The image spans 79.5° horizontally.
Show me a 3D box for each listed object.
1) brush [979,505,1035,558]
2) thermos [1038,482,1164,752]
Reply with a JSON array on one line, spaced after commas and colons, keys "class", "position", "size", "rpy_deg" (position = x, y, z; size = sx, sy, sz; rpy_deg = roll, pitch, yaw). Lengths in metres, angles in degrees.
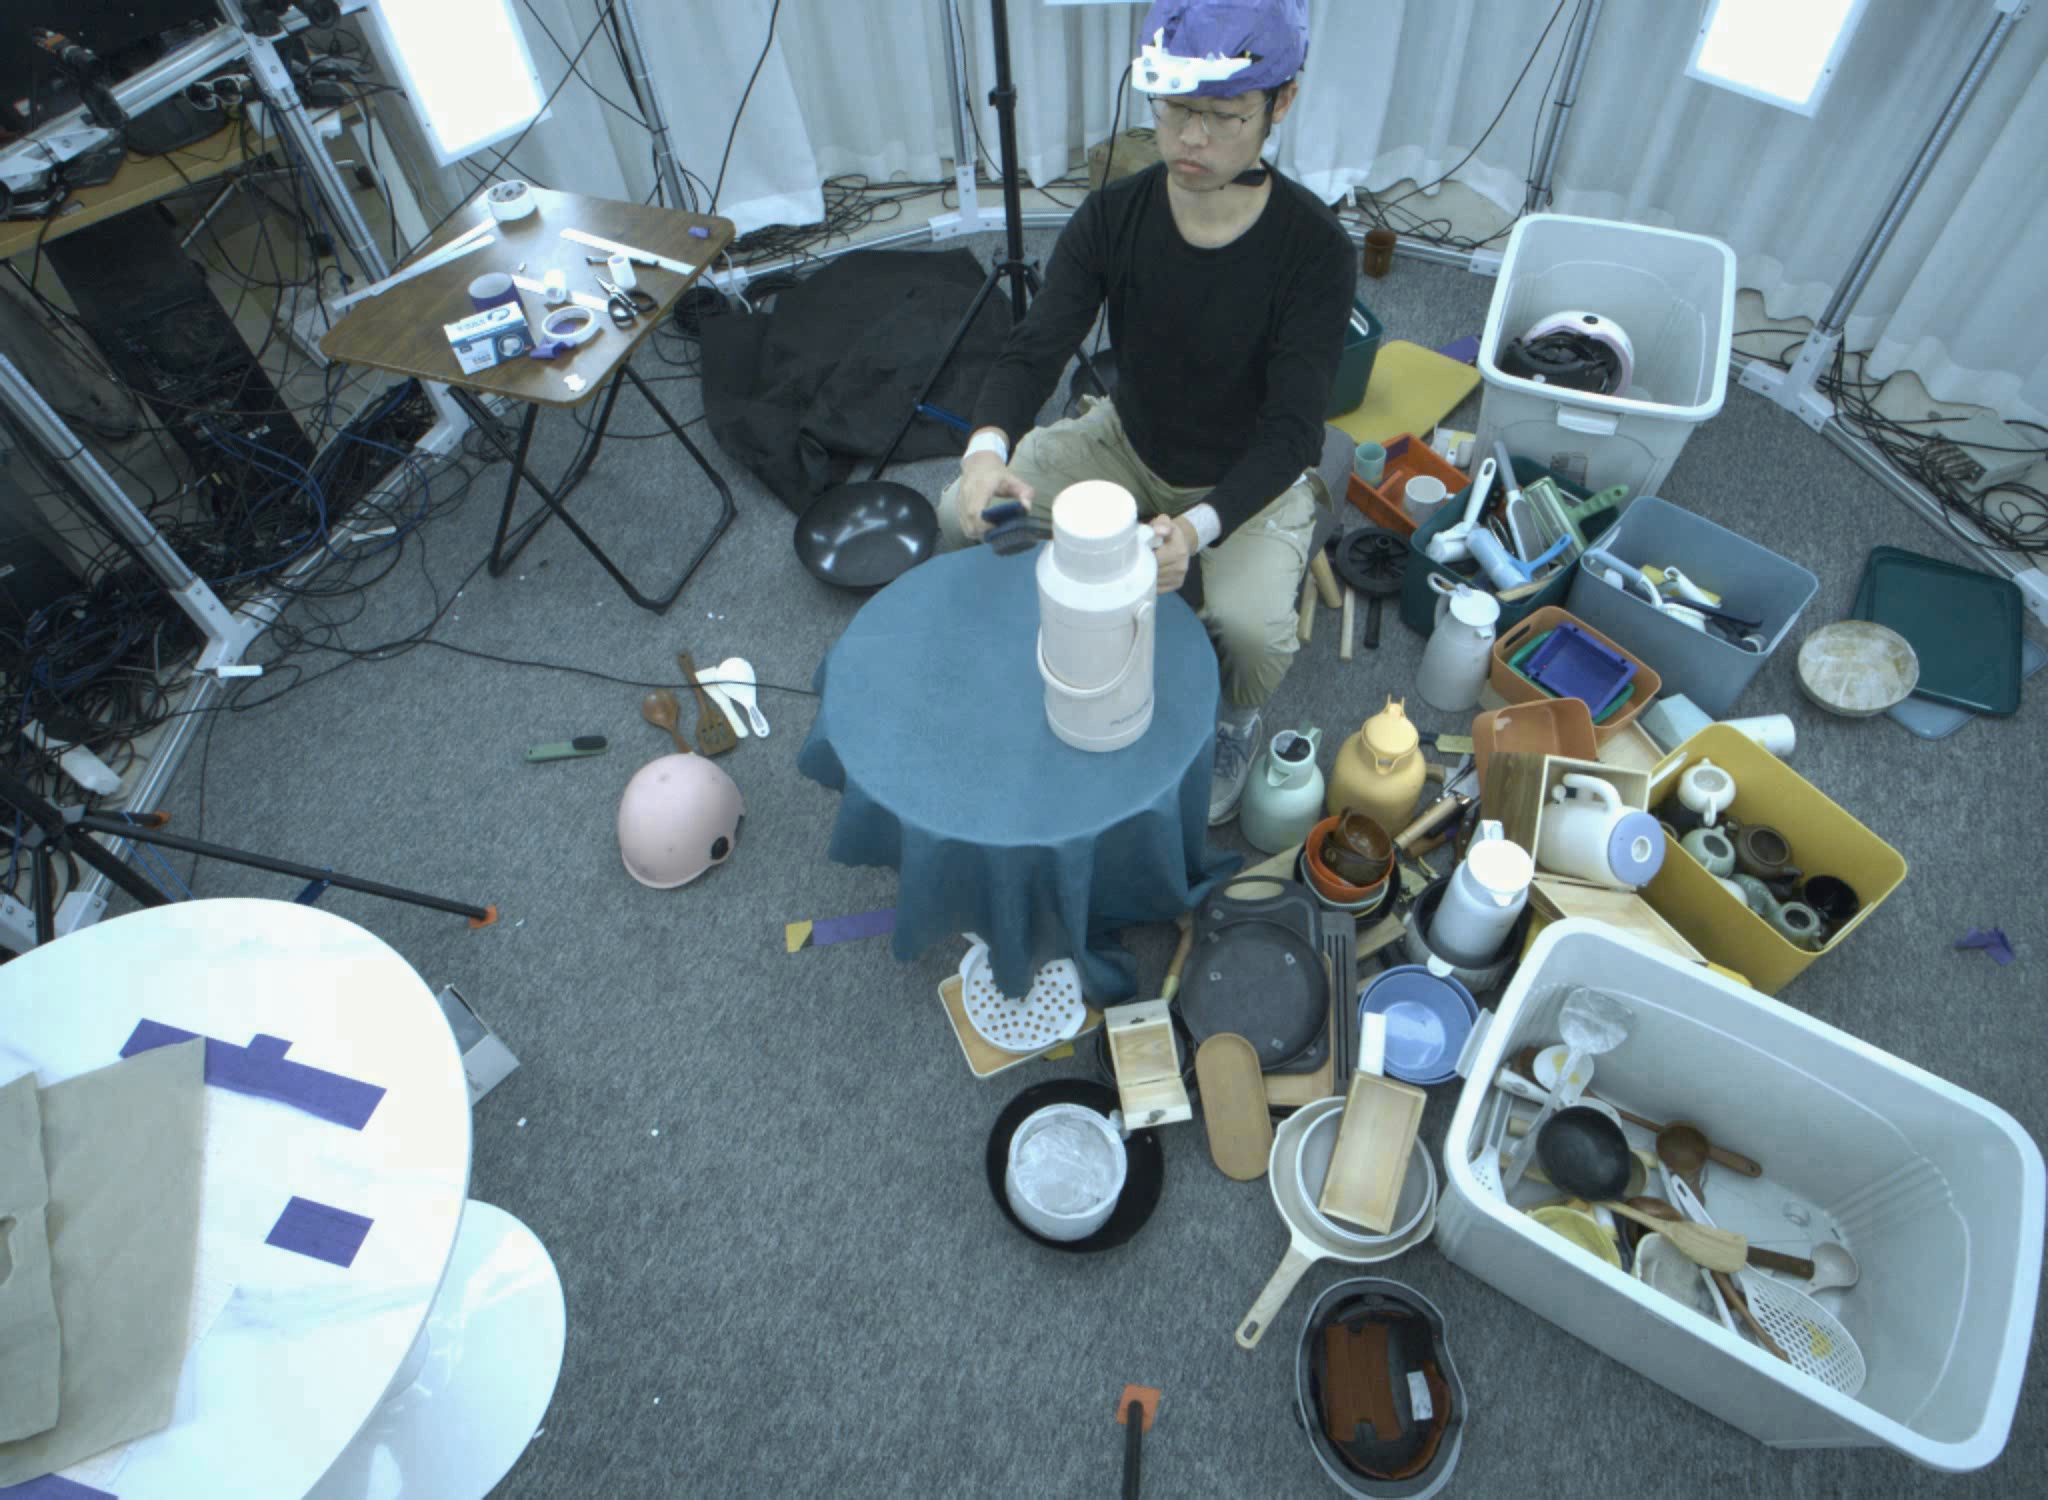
[{"class": "brush", "position": [-0.022, -0.288, 1.627], "size": [0.067, 0.122, 0.061], "rpy_deg": [-15, 92, 10]}, {"class": "thermos", "position": [0.113, -0.184, 1.670], "size": [0.172, 0.411, 0.208], "rpy_deg": [36, 65, 27]}]
